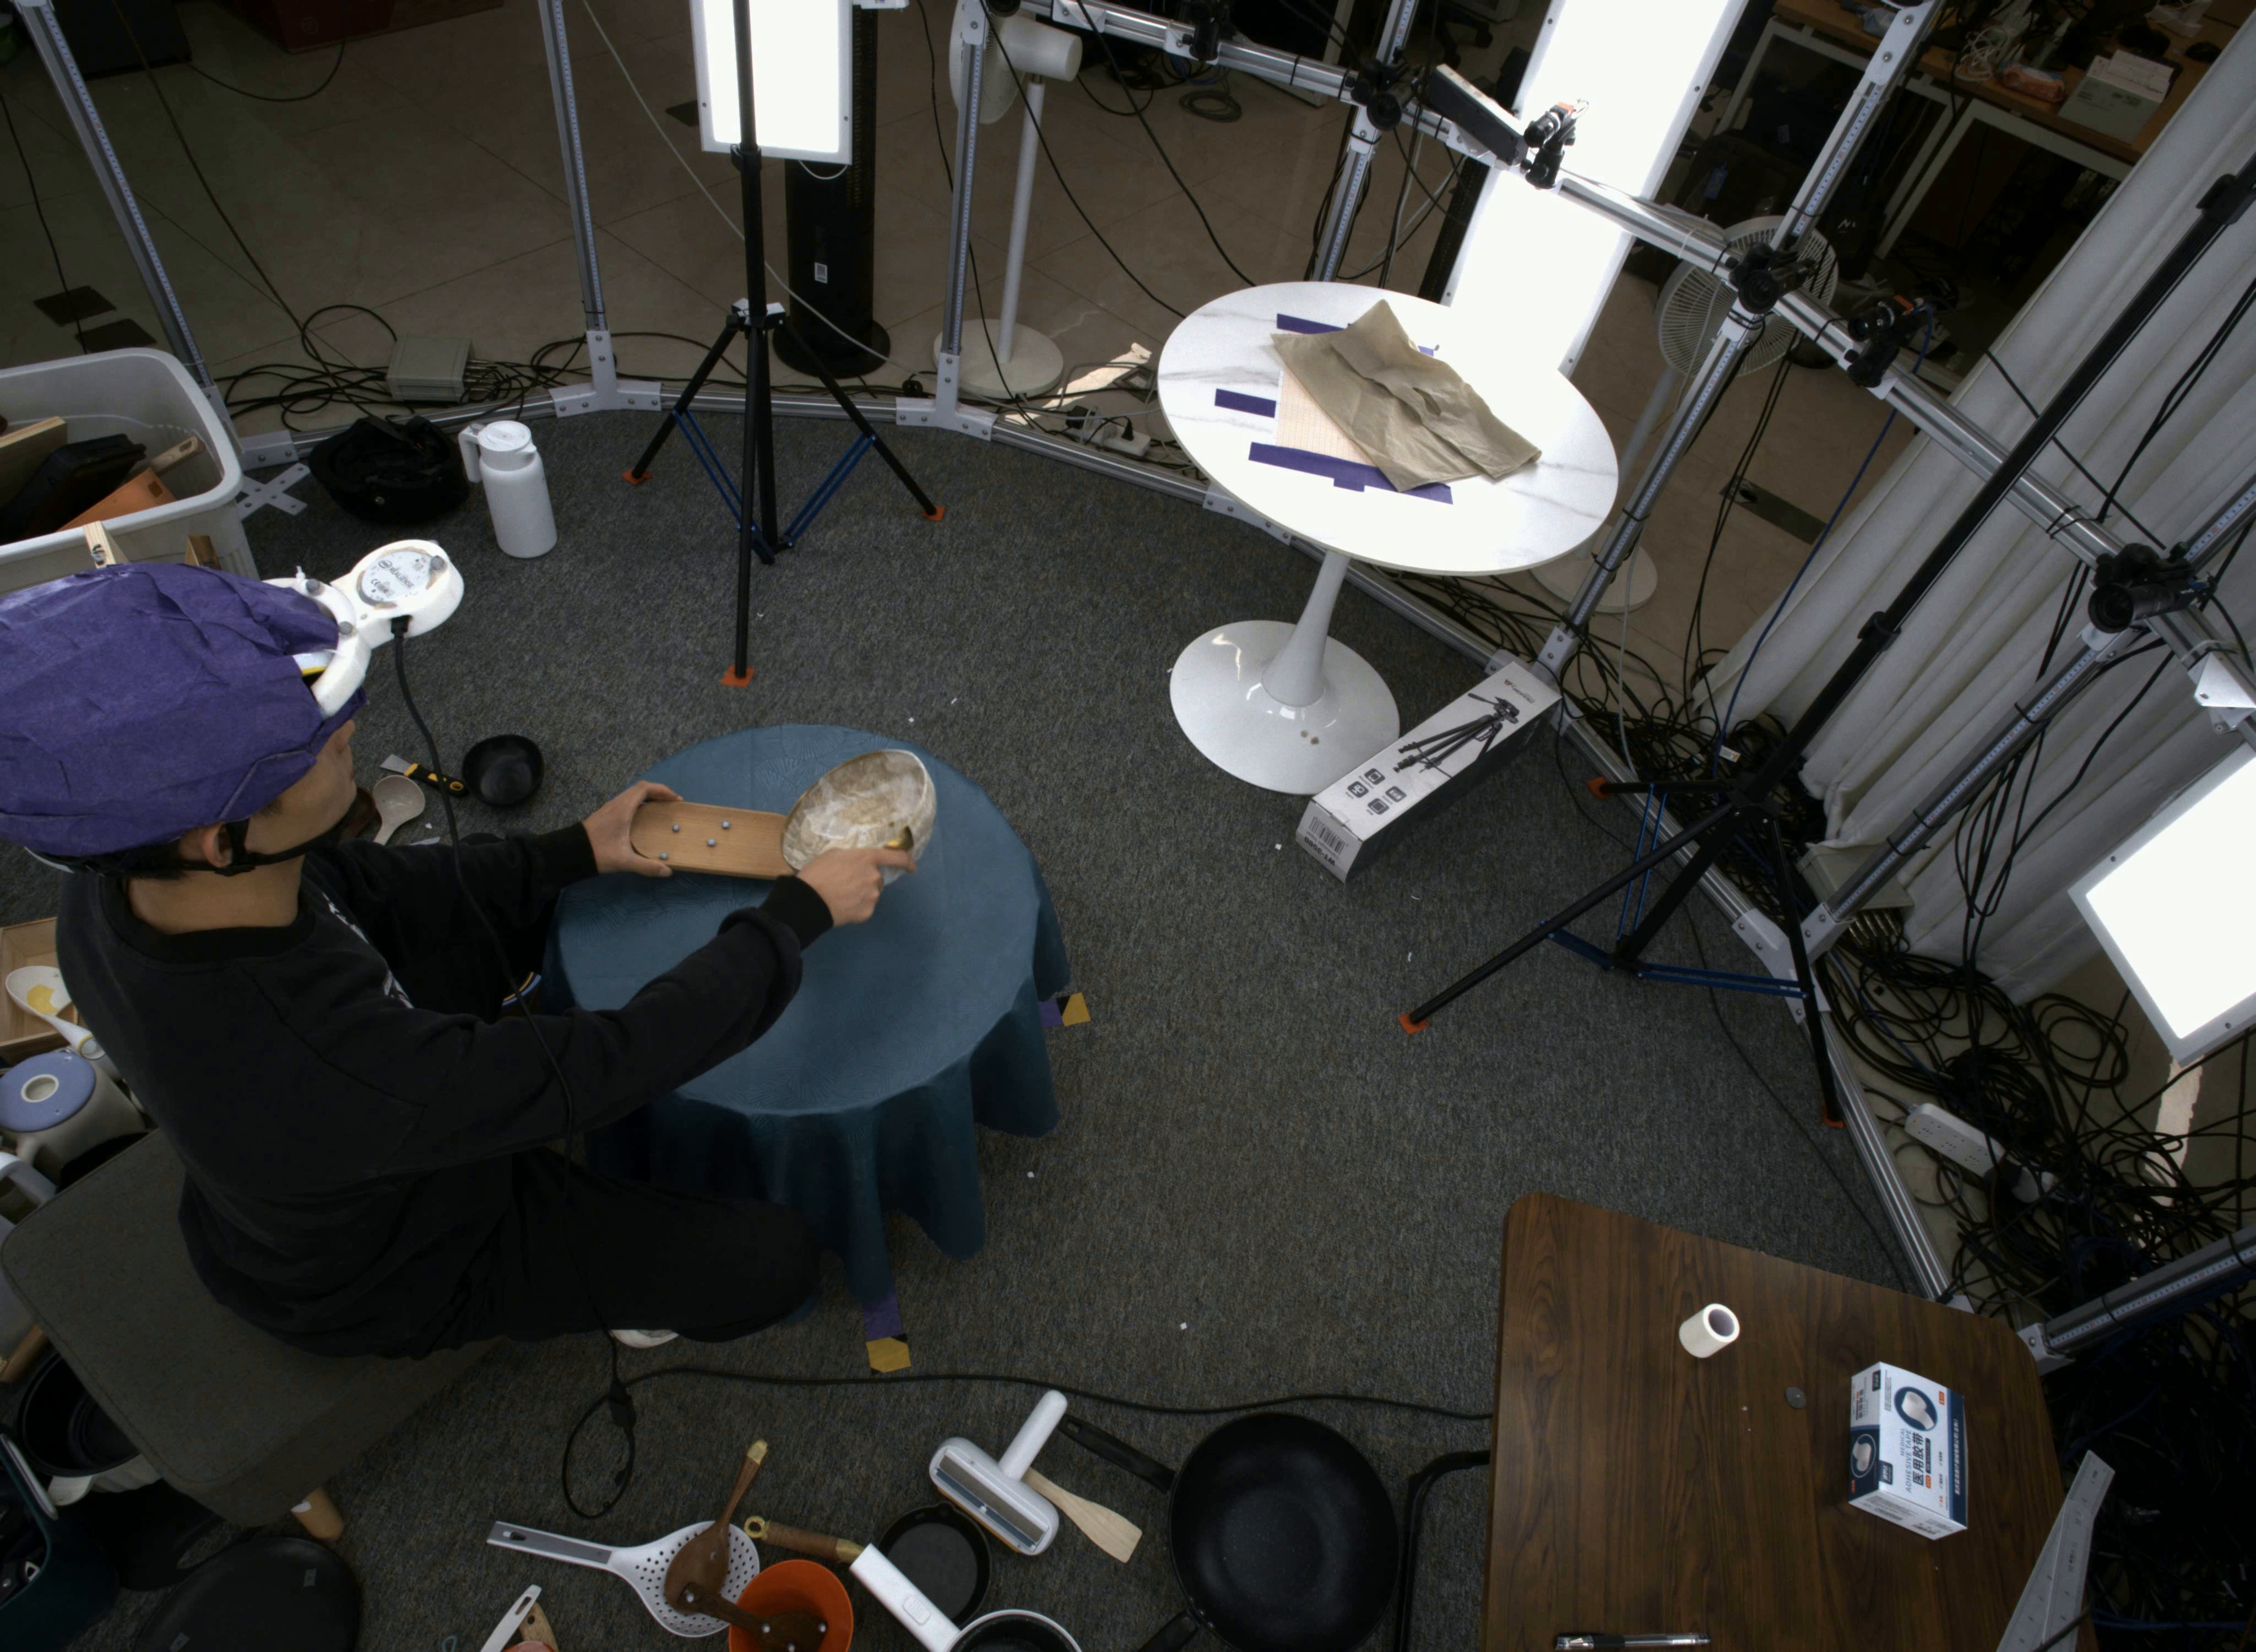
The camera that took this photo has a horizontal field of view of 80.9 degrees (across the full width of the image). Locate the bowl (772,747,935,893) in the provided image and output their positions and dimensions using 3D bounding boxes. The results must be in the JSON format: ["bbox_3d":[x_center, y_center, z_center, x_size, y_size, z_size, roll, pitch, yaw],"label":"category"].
[{"bbox_3d":[-0.321,0.008,1.594,0.210,0.098,0.210,-14,45,16],"label":"bowl"}]

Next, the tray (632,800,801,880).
[{"bbox_3d":[-0.515,0.018,1.648,0.235,0.020,0.100,8,54,-29],"label":"tray"}]
